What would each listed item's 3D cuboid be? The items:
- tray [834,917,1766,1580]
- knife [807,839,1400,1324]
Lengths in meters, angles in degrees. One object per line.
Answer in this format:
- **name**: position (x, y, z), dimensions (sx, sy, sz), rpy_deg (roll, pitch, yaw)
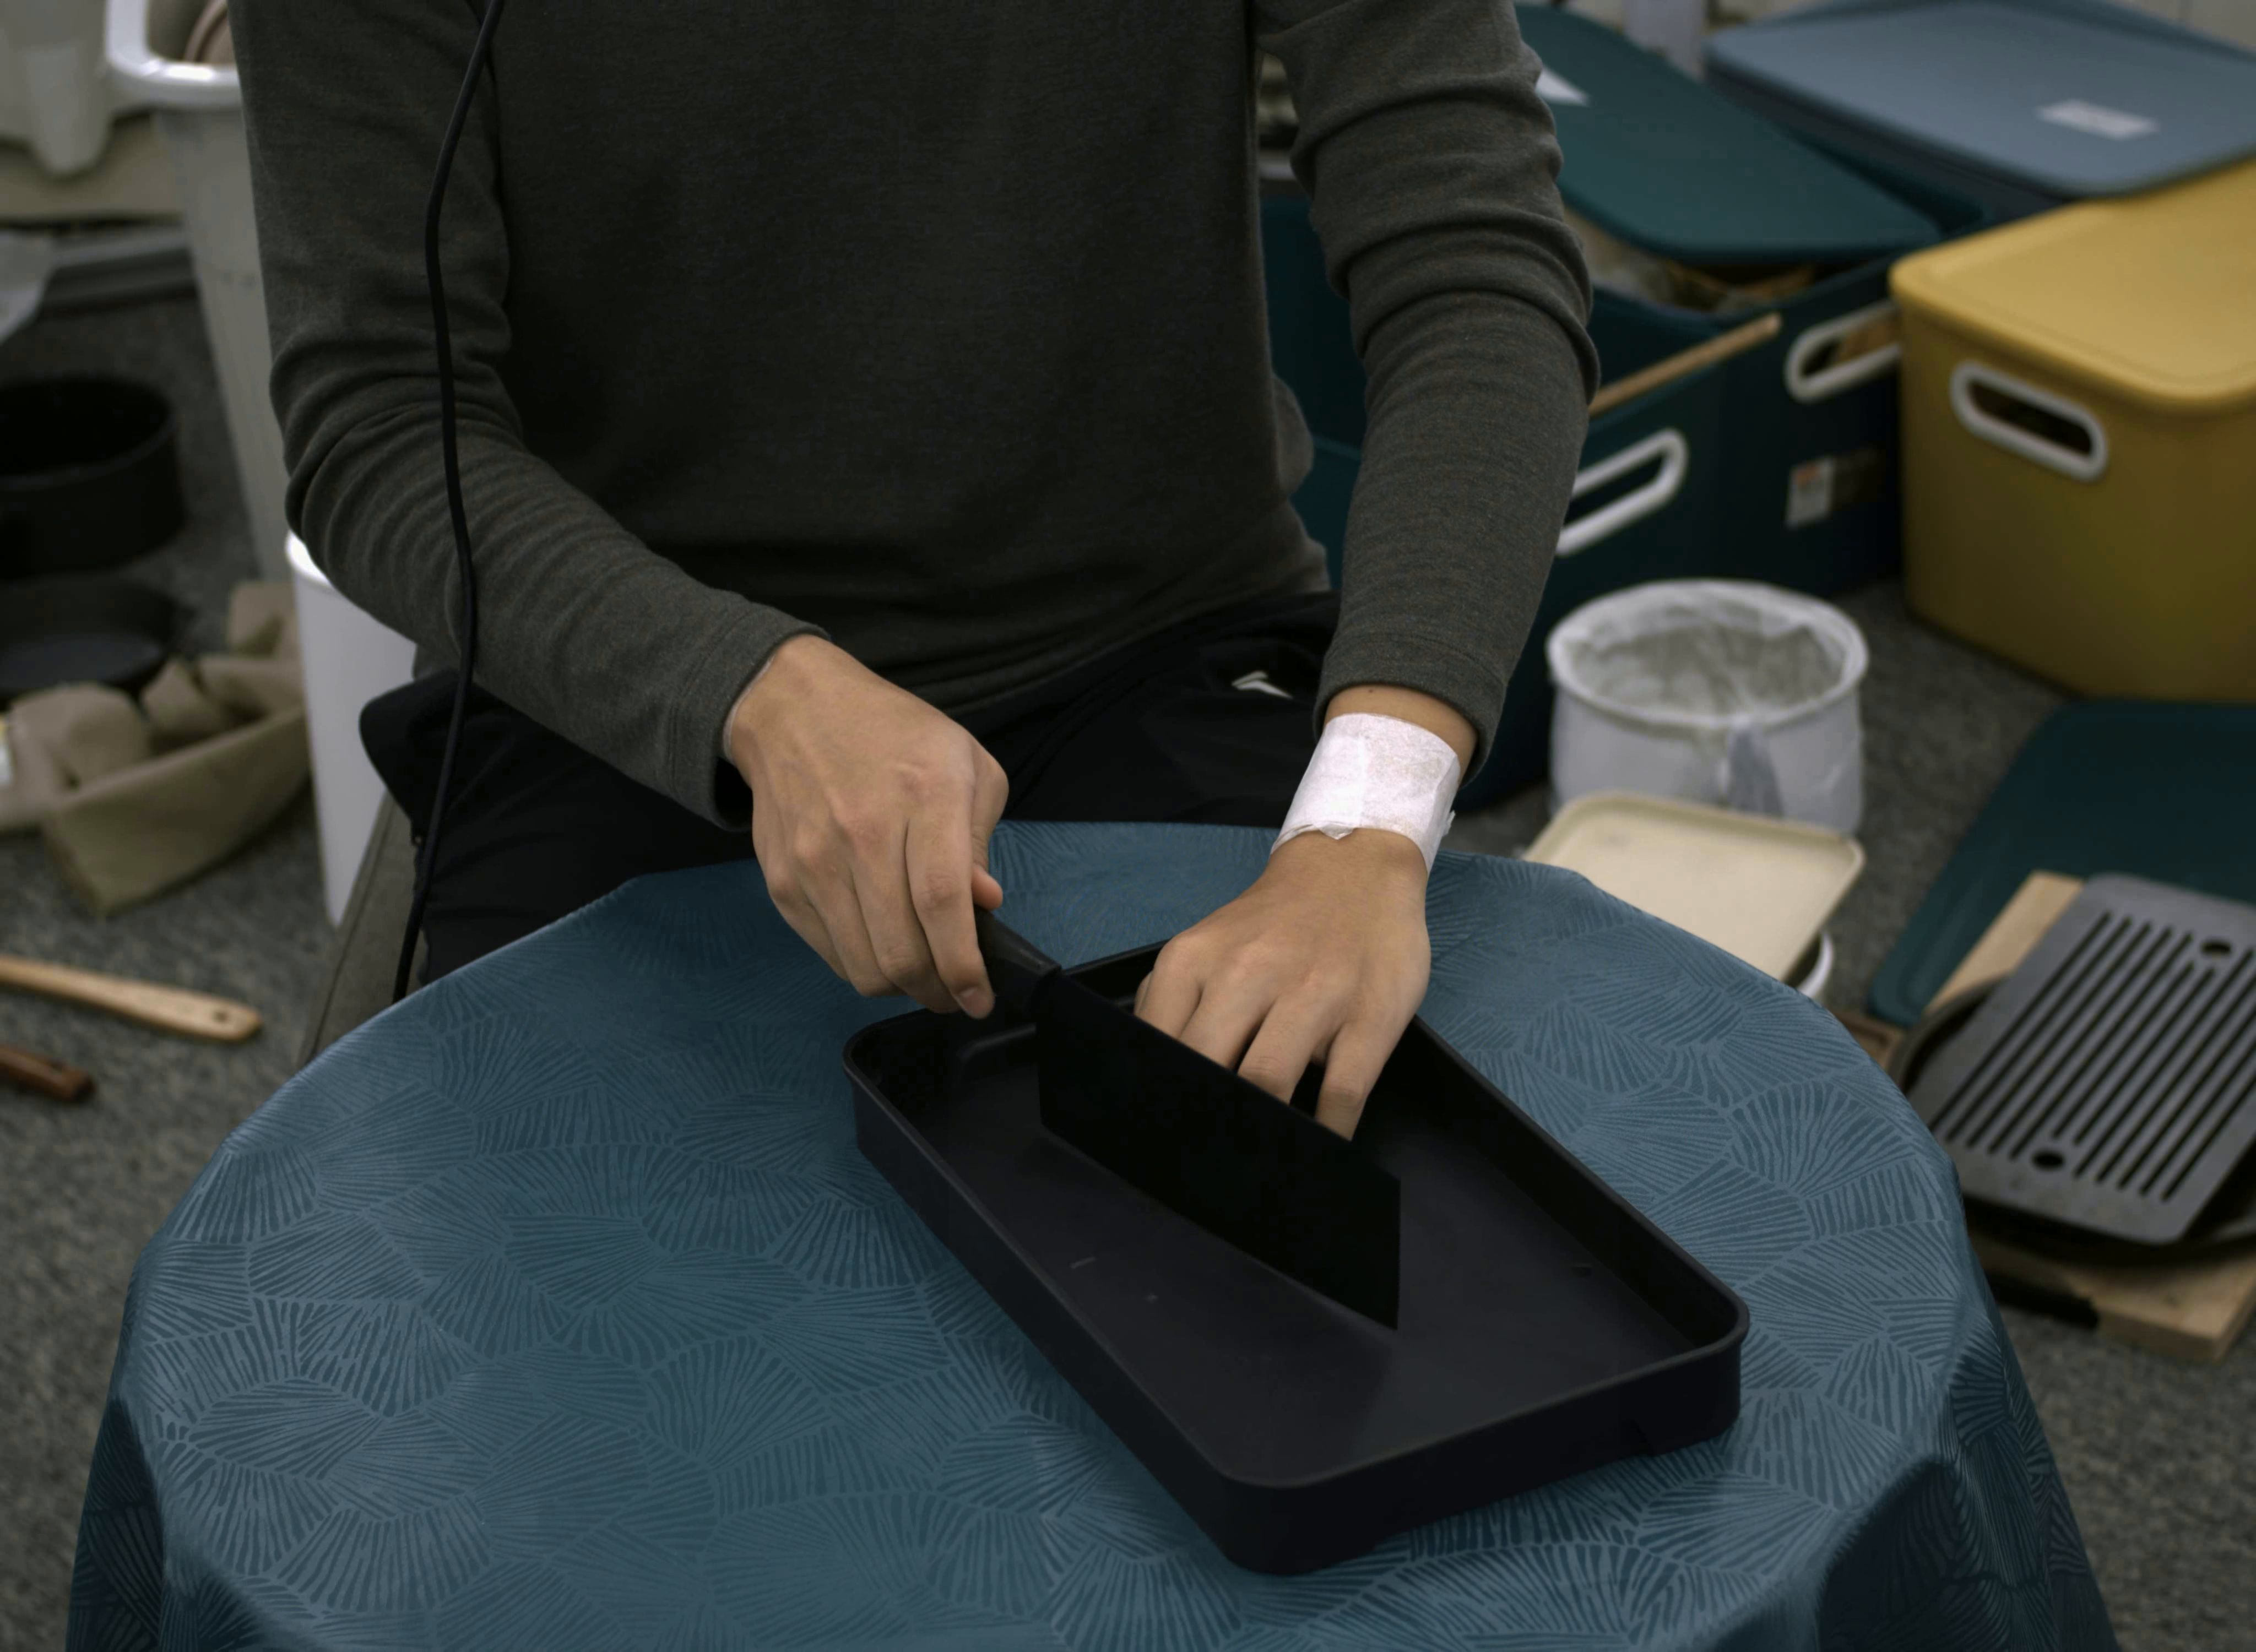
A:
- **tray**: position (0.049, 0.128, 1.804), dimensions (0.185, 0.036, 0.319), rpy_deg (-16, 30, -24)
- **knife**: position (-0.011, 0.077, 1.850), dimensions (0.021, 0.080, 0.303), rpy_deg (-19, 36, -35)
